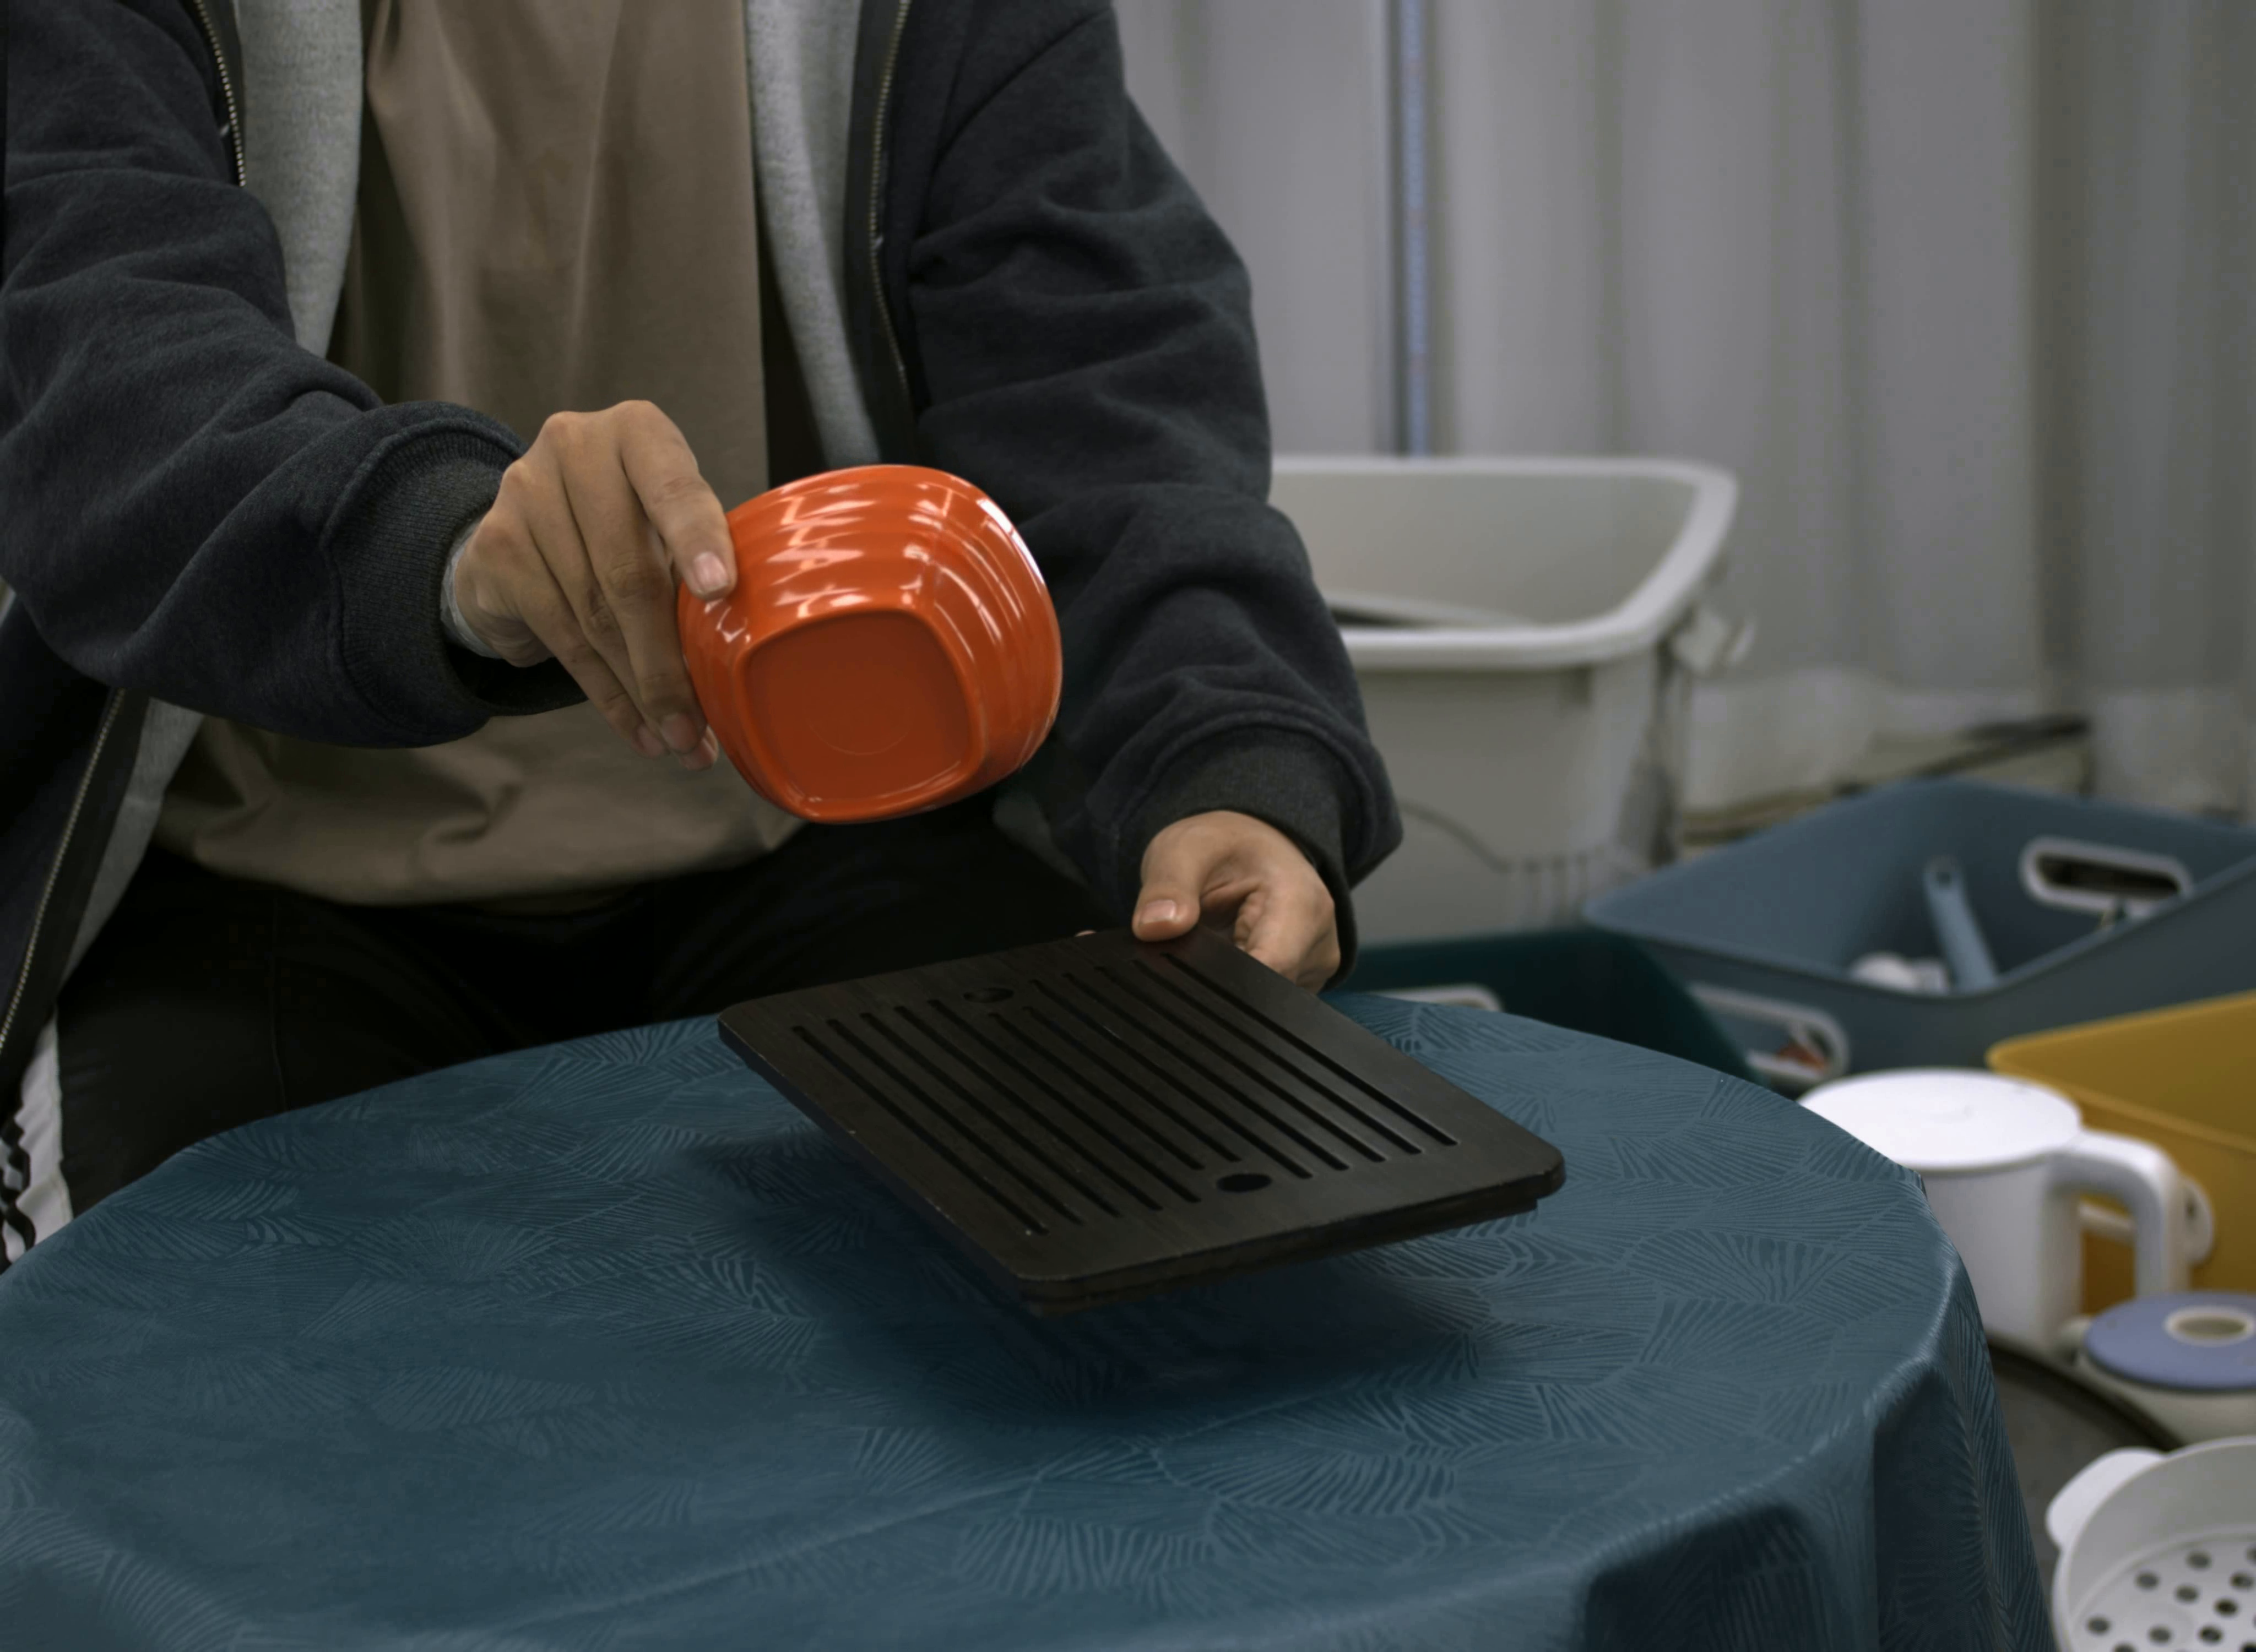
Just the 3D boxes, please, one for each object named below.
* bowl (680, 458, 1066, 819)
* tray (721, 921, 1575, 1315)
[{"bbox_3d":[-0.076,-0.045,1.588,0.118,0.118,0.052,-1,29,5],"label":"bowl"},{"bbox_3d":[-0.001,0.085,1.668,0.169,0.018,0.308,-11,16,-19],"label":"tray"}]
